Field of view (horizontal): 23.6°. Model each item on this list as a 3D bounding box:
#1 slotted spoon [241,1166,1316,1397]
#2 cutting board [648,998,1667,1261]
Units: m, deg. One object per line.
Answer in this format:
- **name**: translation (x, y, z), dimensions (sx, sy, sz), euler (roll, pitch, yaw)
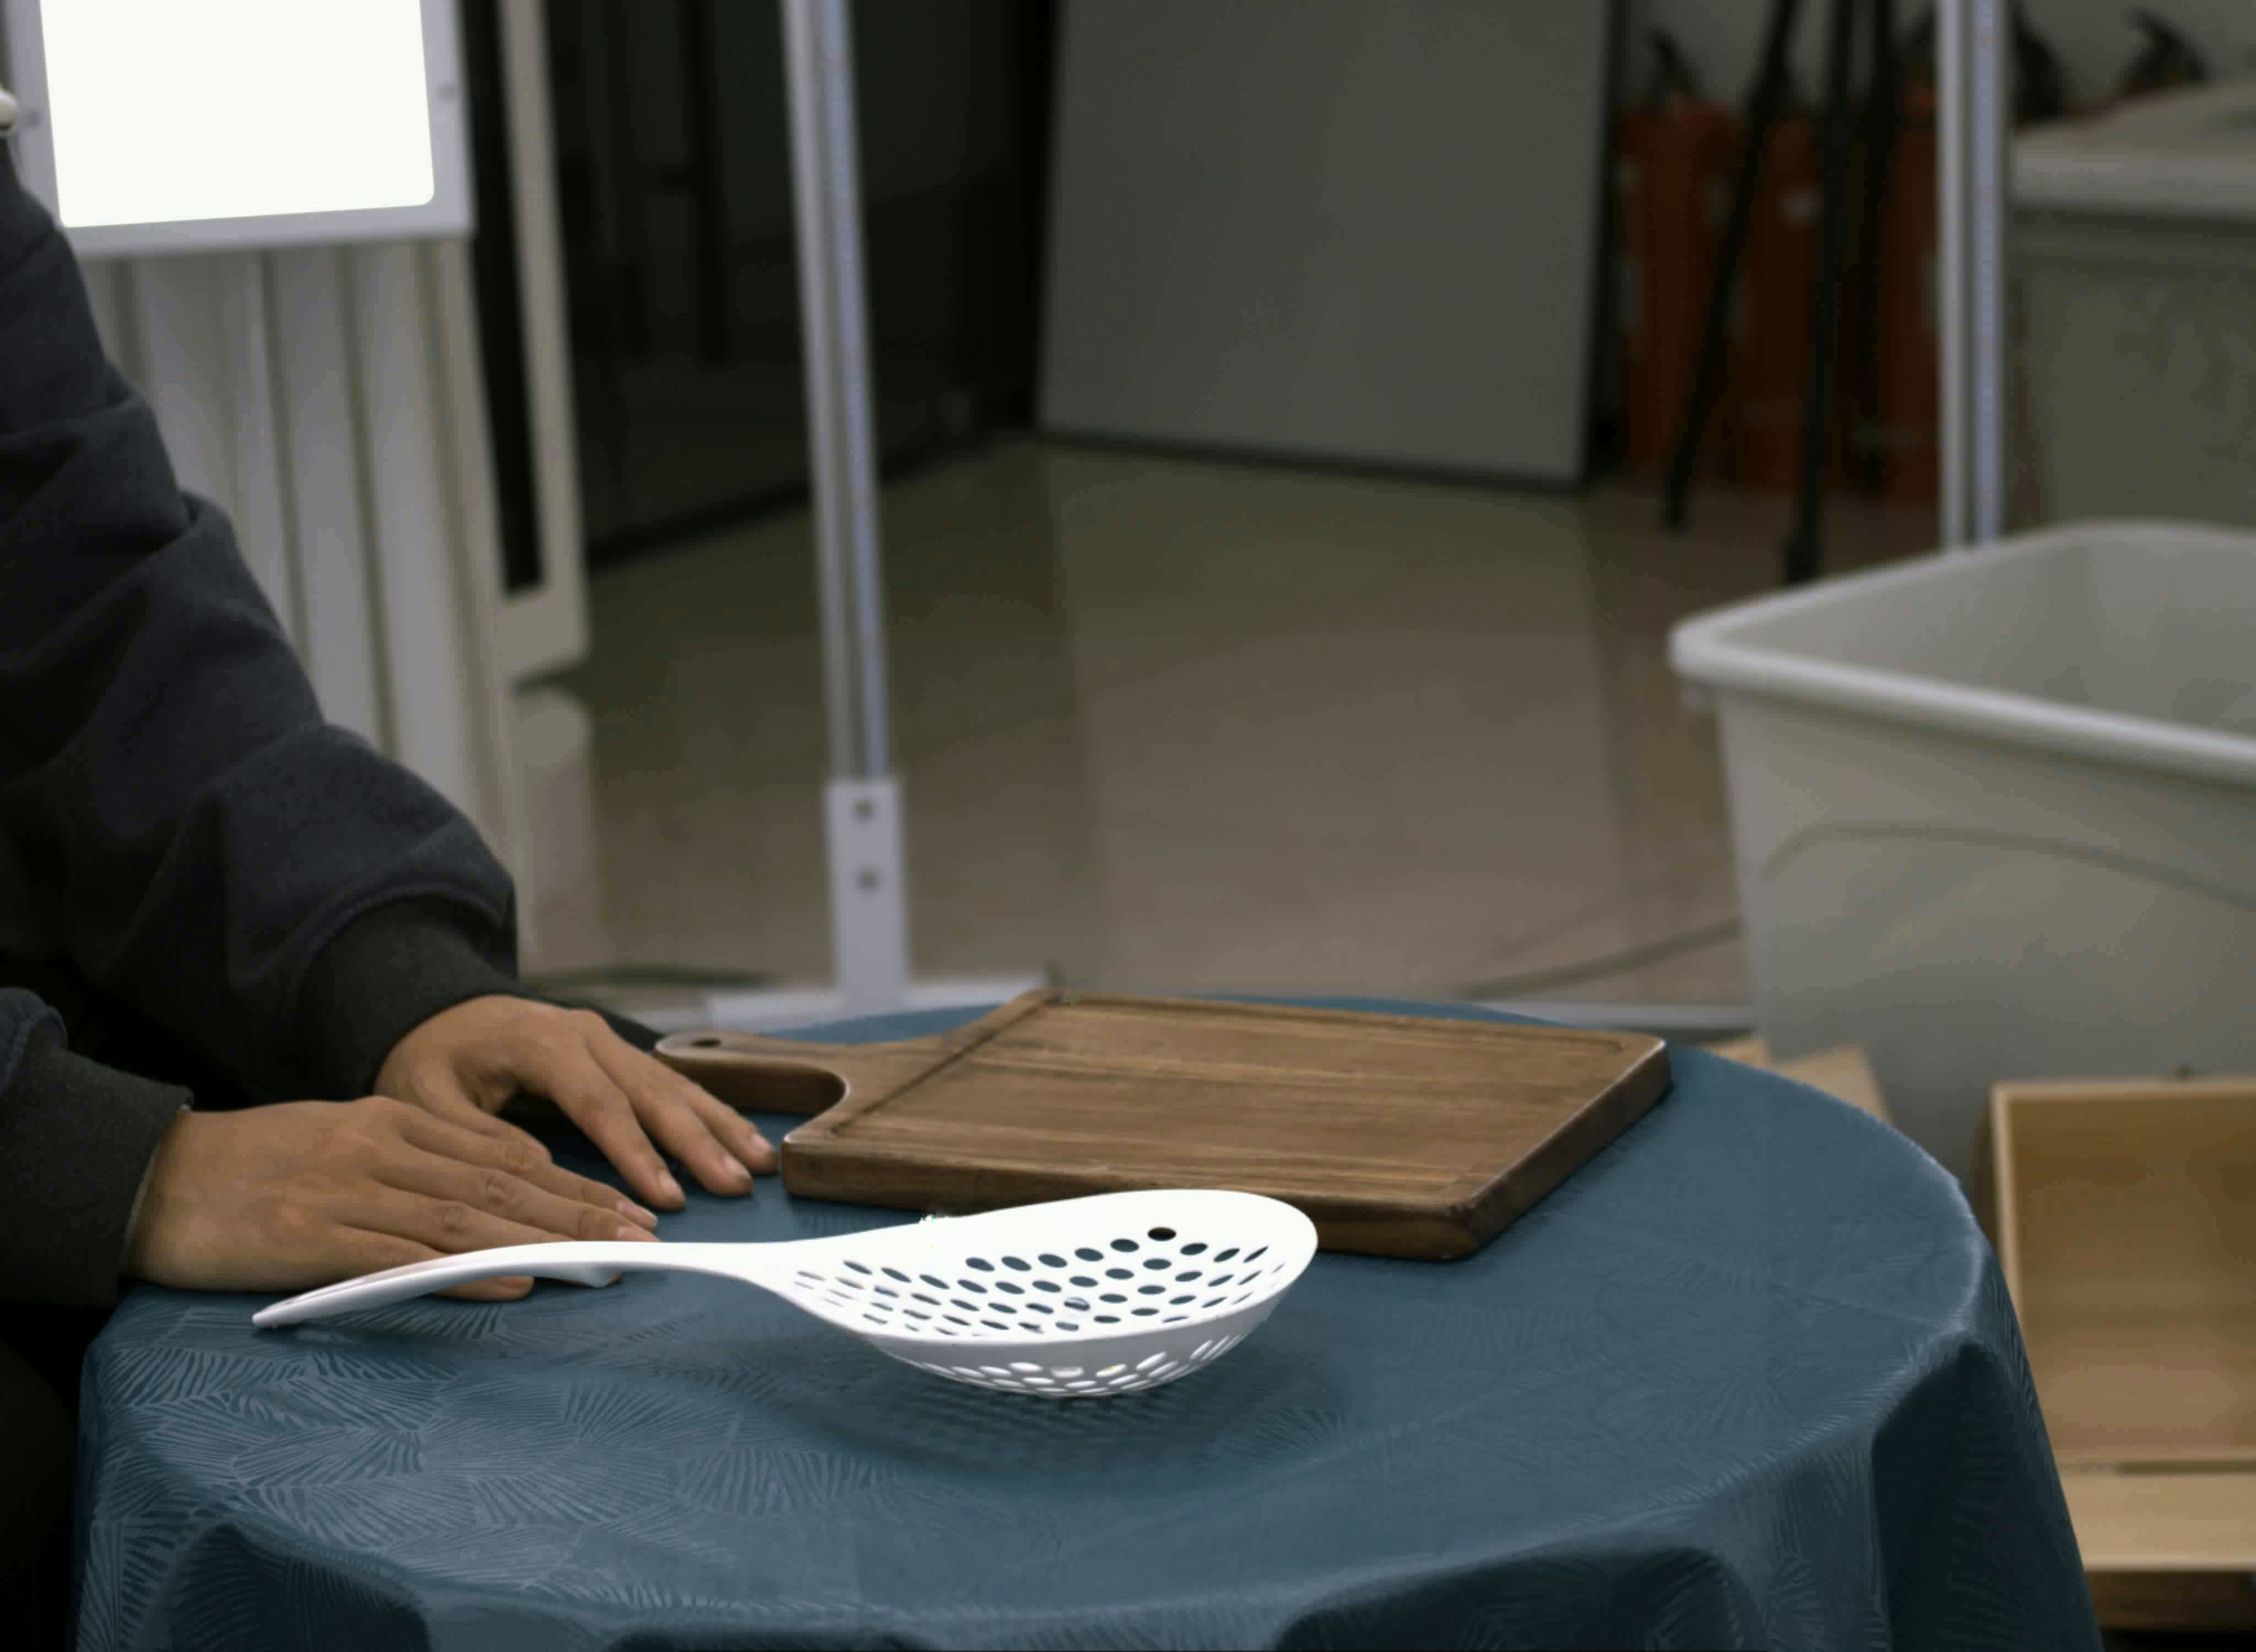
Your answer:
- **slotted spoon**: translation (-0.110, 0.142, 1.628), dimensions (0.347, 0.051, 0.135), euler (1, 17, 20)
- **cutting board**: translation (-0.009, 0.096, 1.832), dimensions (0.353, 0.023, 0.198), euler (3, 15, 27)
